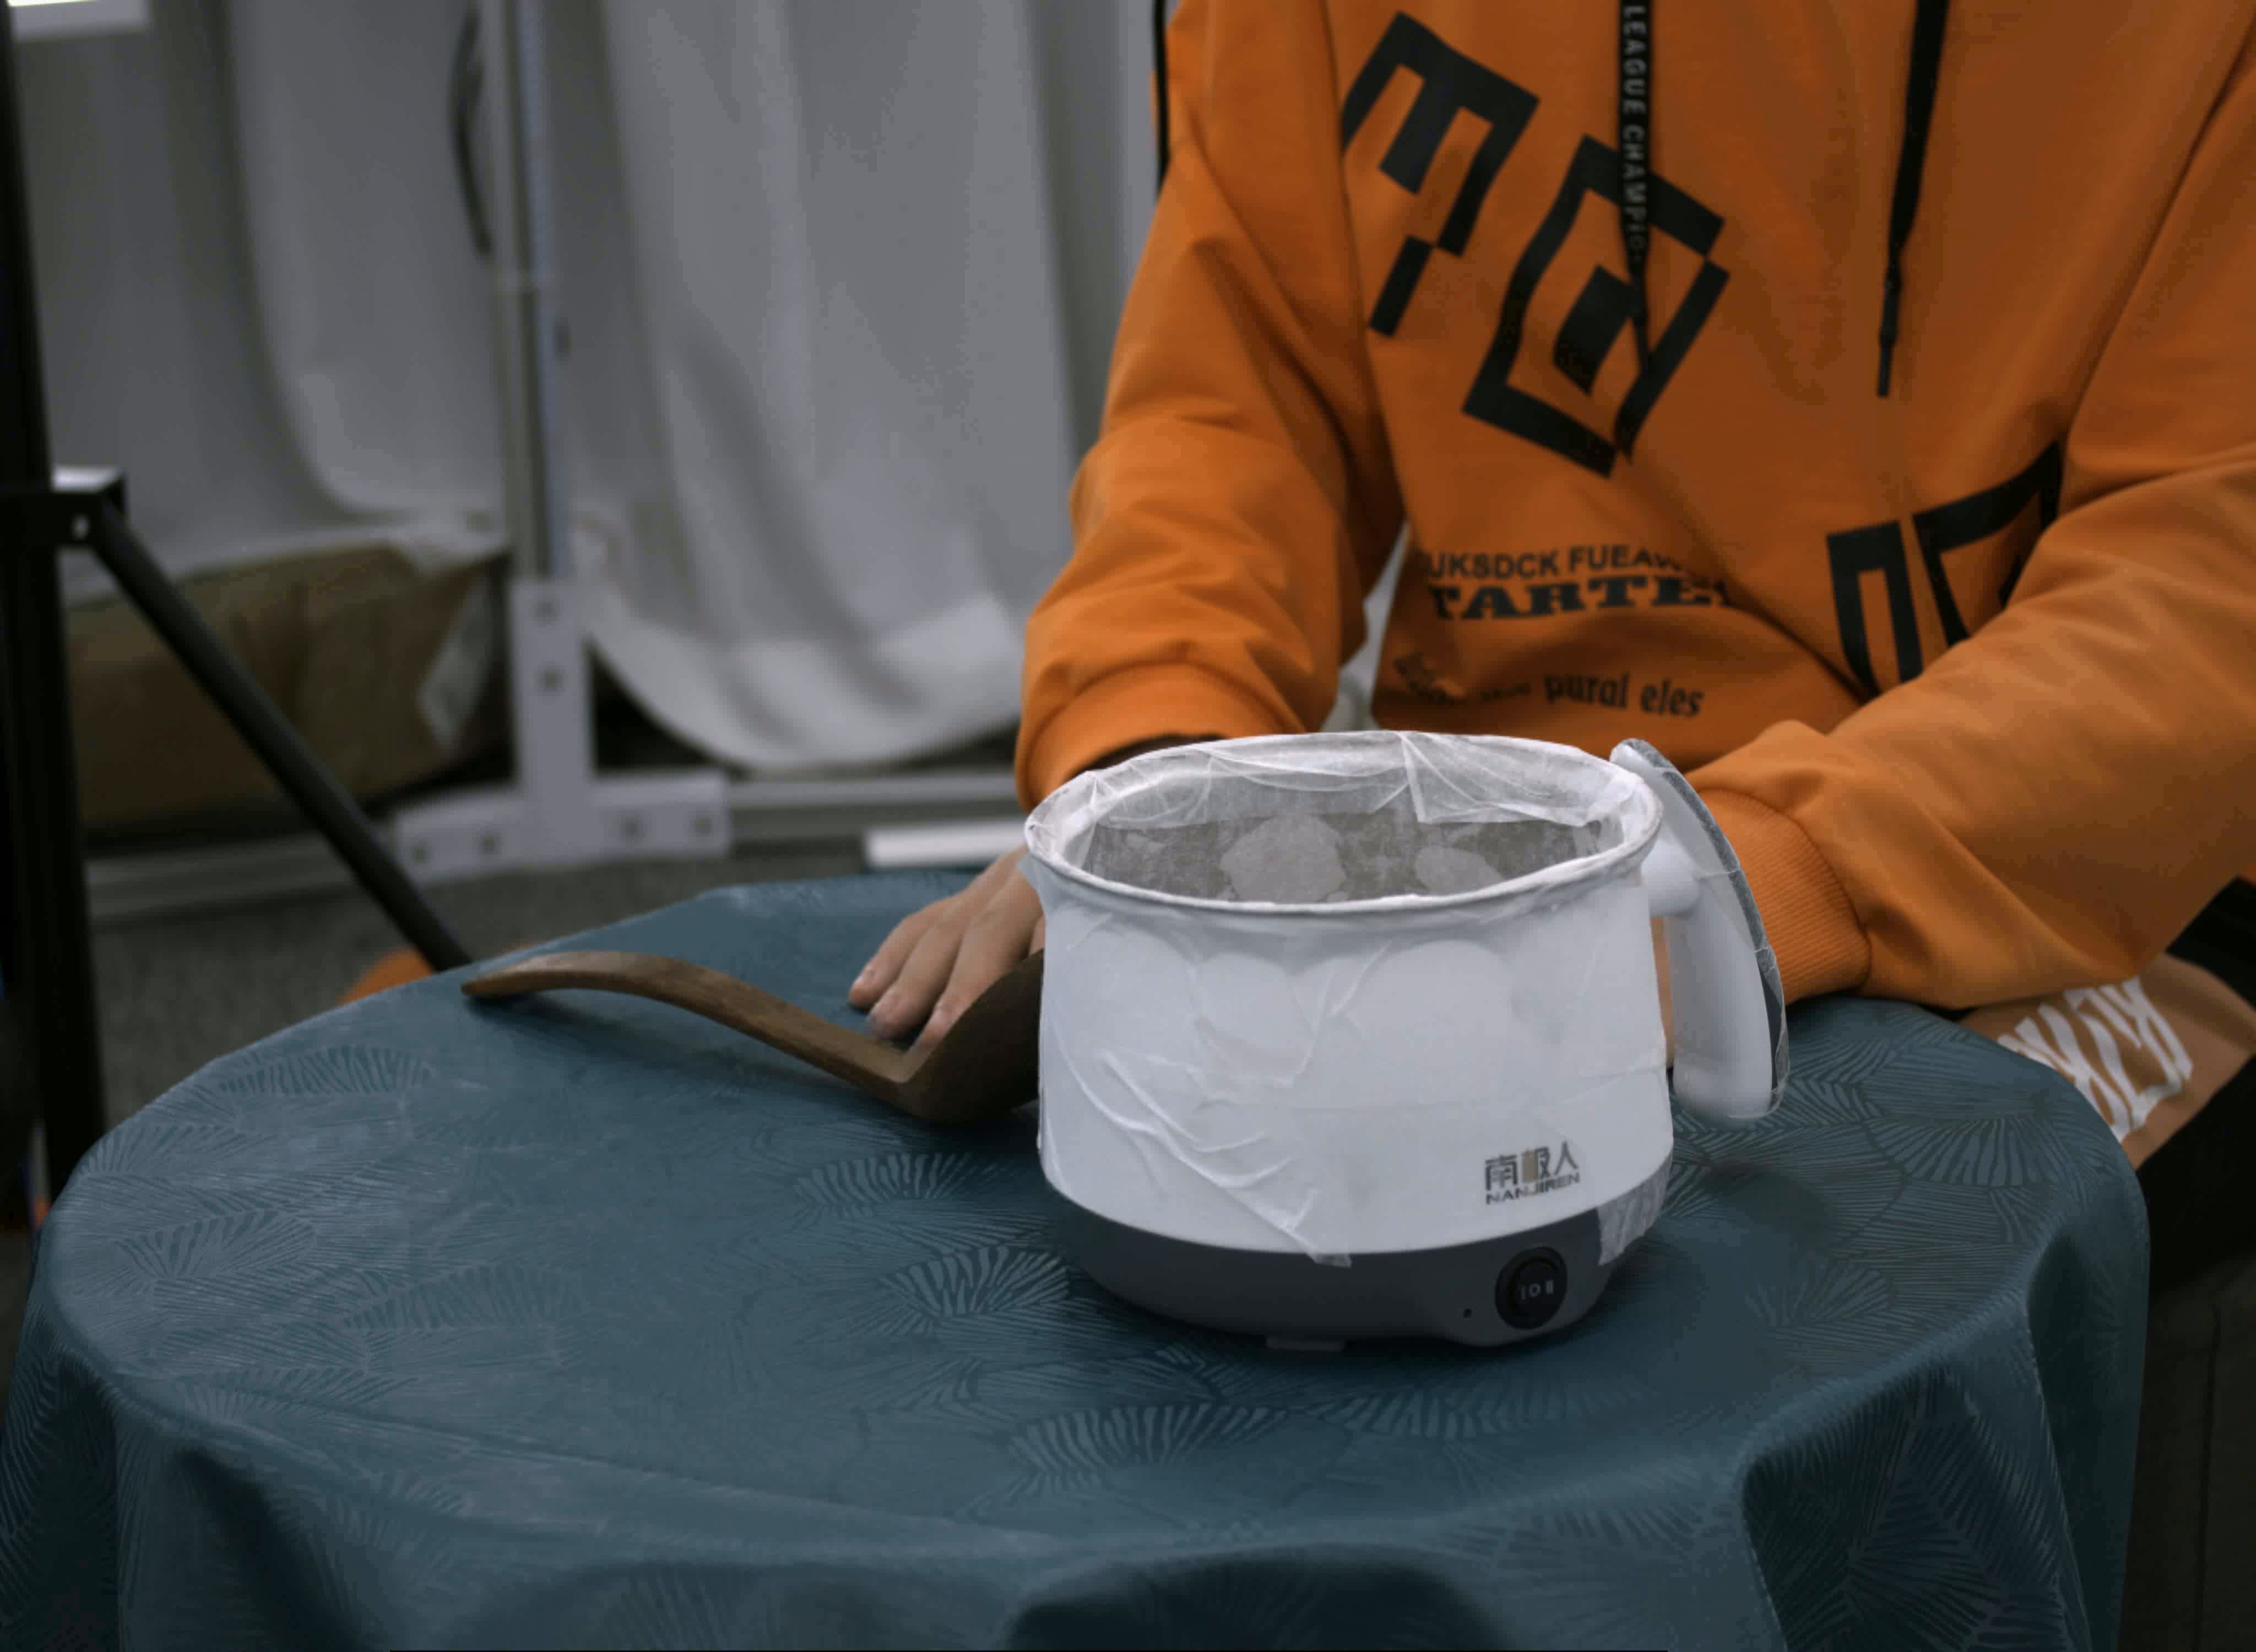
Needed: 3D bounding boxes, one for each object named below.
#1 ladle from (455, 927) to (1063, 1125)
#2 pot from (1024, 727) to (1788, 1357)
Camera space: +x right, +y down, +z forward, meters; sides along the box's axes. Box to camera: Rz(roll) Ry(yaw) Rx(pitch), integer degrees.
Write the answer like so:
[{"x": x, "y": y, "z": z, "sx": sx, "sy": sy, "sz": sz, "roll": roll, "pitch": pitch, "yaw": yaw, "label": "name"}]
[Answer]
[{"x": -0.115, "y": 0.043, "z": 1.678, "sx": 0.280, "sy": 0.071, "sz": 0.074, "roll": 13, "pitch": 19, "yaw": 42, "label": "ladle"}, {"x": 0.085, "y": 0.053, "z": 1.486, "sx": 0.228, "sy": 0.136, "sz": 0.182, "roll": -12, "pitch": 18, "yaw": -29, "label": "pot"}]
